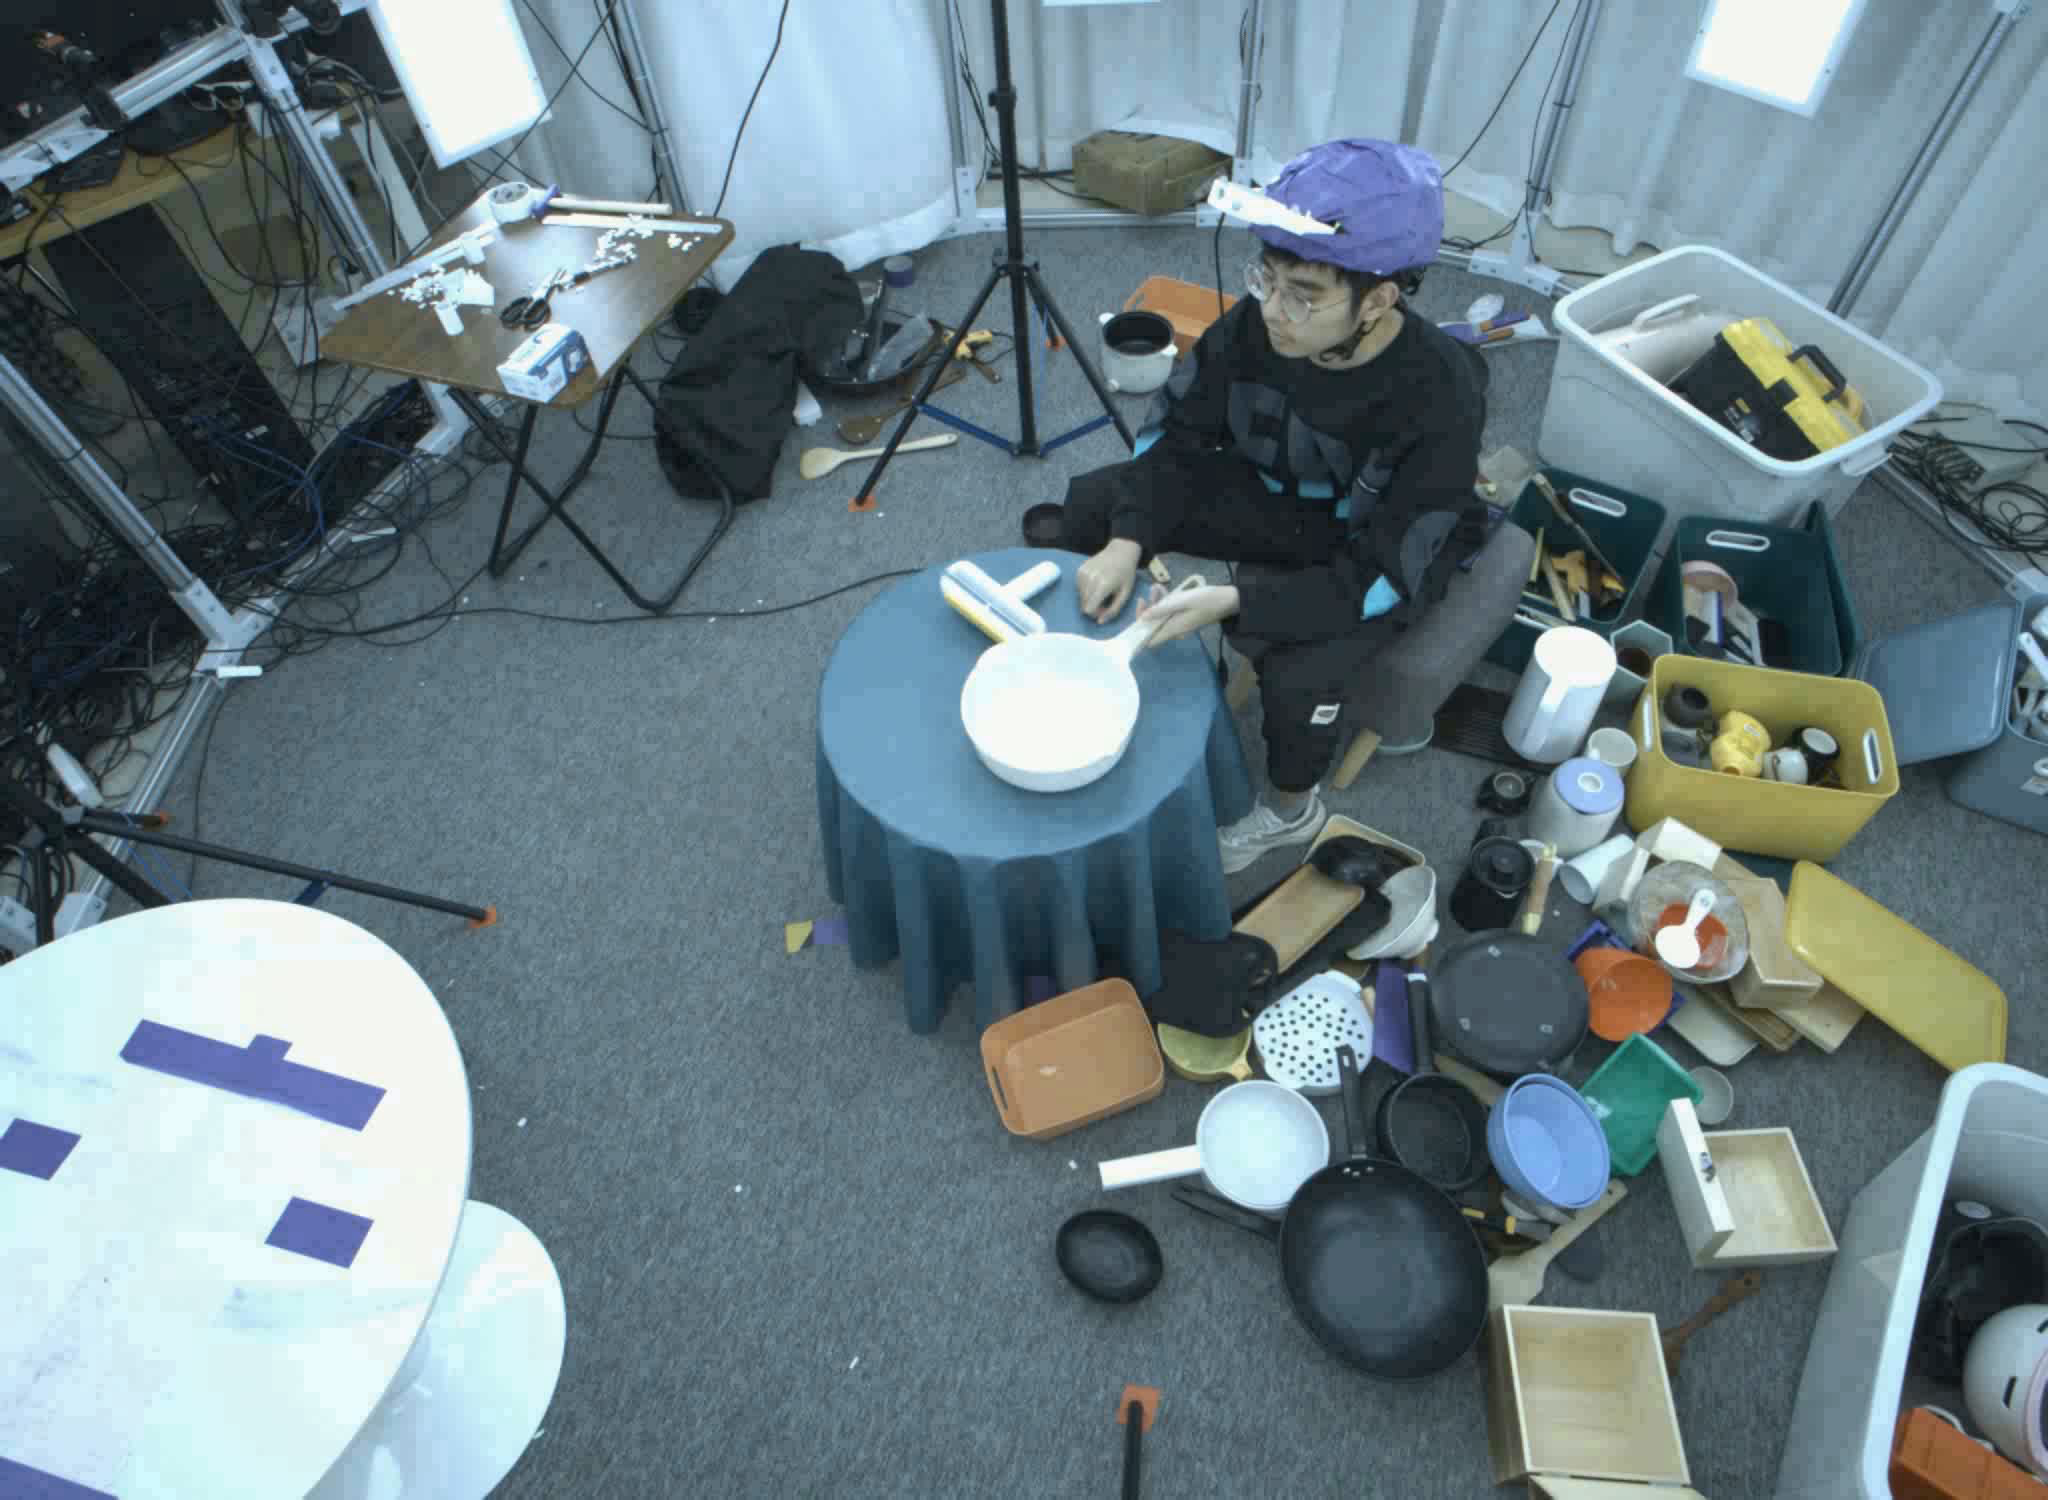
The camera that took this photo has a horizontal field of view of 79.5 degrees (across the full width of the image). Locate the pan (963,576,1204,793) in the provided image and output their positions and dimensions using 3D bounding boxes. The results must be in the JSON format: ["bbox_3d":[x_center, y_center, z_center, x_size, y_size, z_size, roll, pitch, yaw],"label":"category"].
[{"bbox_3d":[0.109,-0.102,1.790,0.438,0.103,0.258,-38,59,-22],"label":"pan"}]

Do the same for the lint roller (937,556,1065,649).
[{"bbox_3d":[-0.012,-0.252,1.921,0.190,0.075,0.194,41,63,20],"label":"lint roller"}]
